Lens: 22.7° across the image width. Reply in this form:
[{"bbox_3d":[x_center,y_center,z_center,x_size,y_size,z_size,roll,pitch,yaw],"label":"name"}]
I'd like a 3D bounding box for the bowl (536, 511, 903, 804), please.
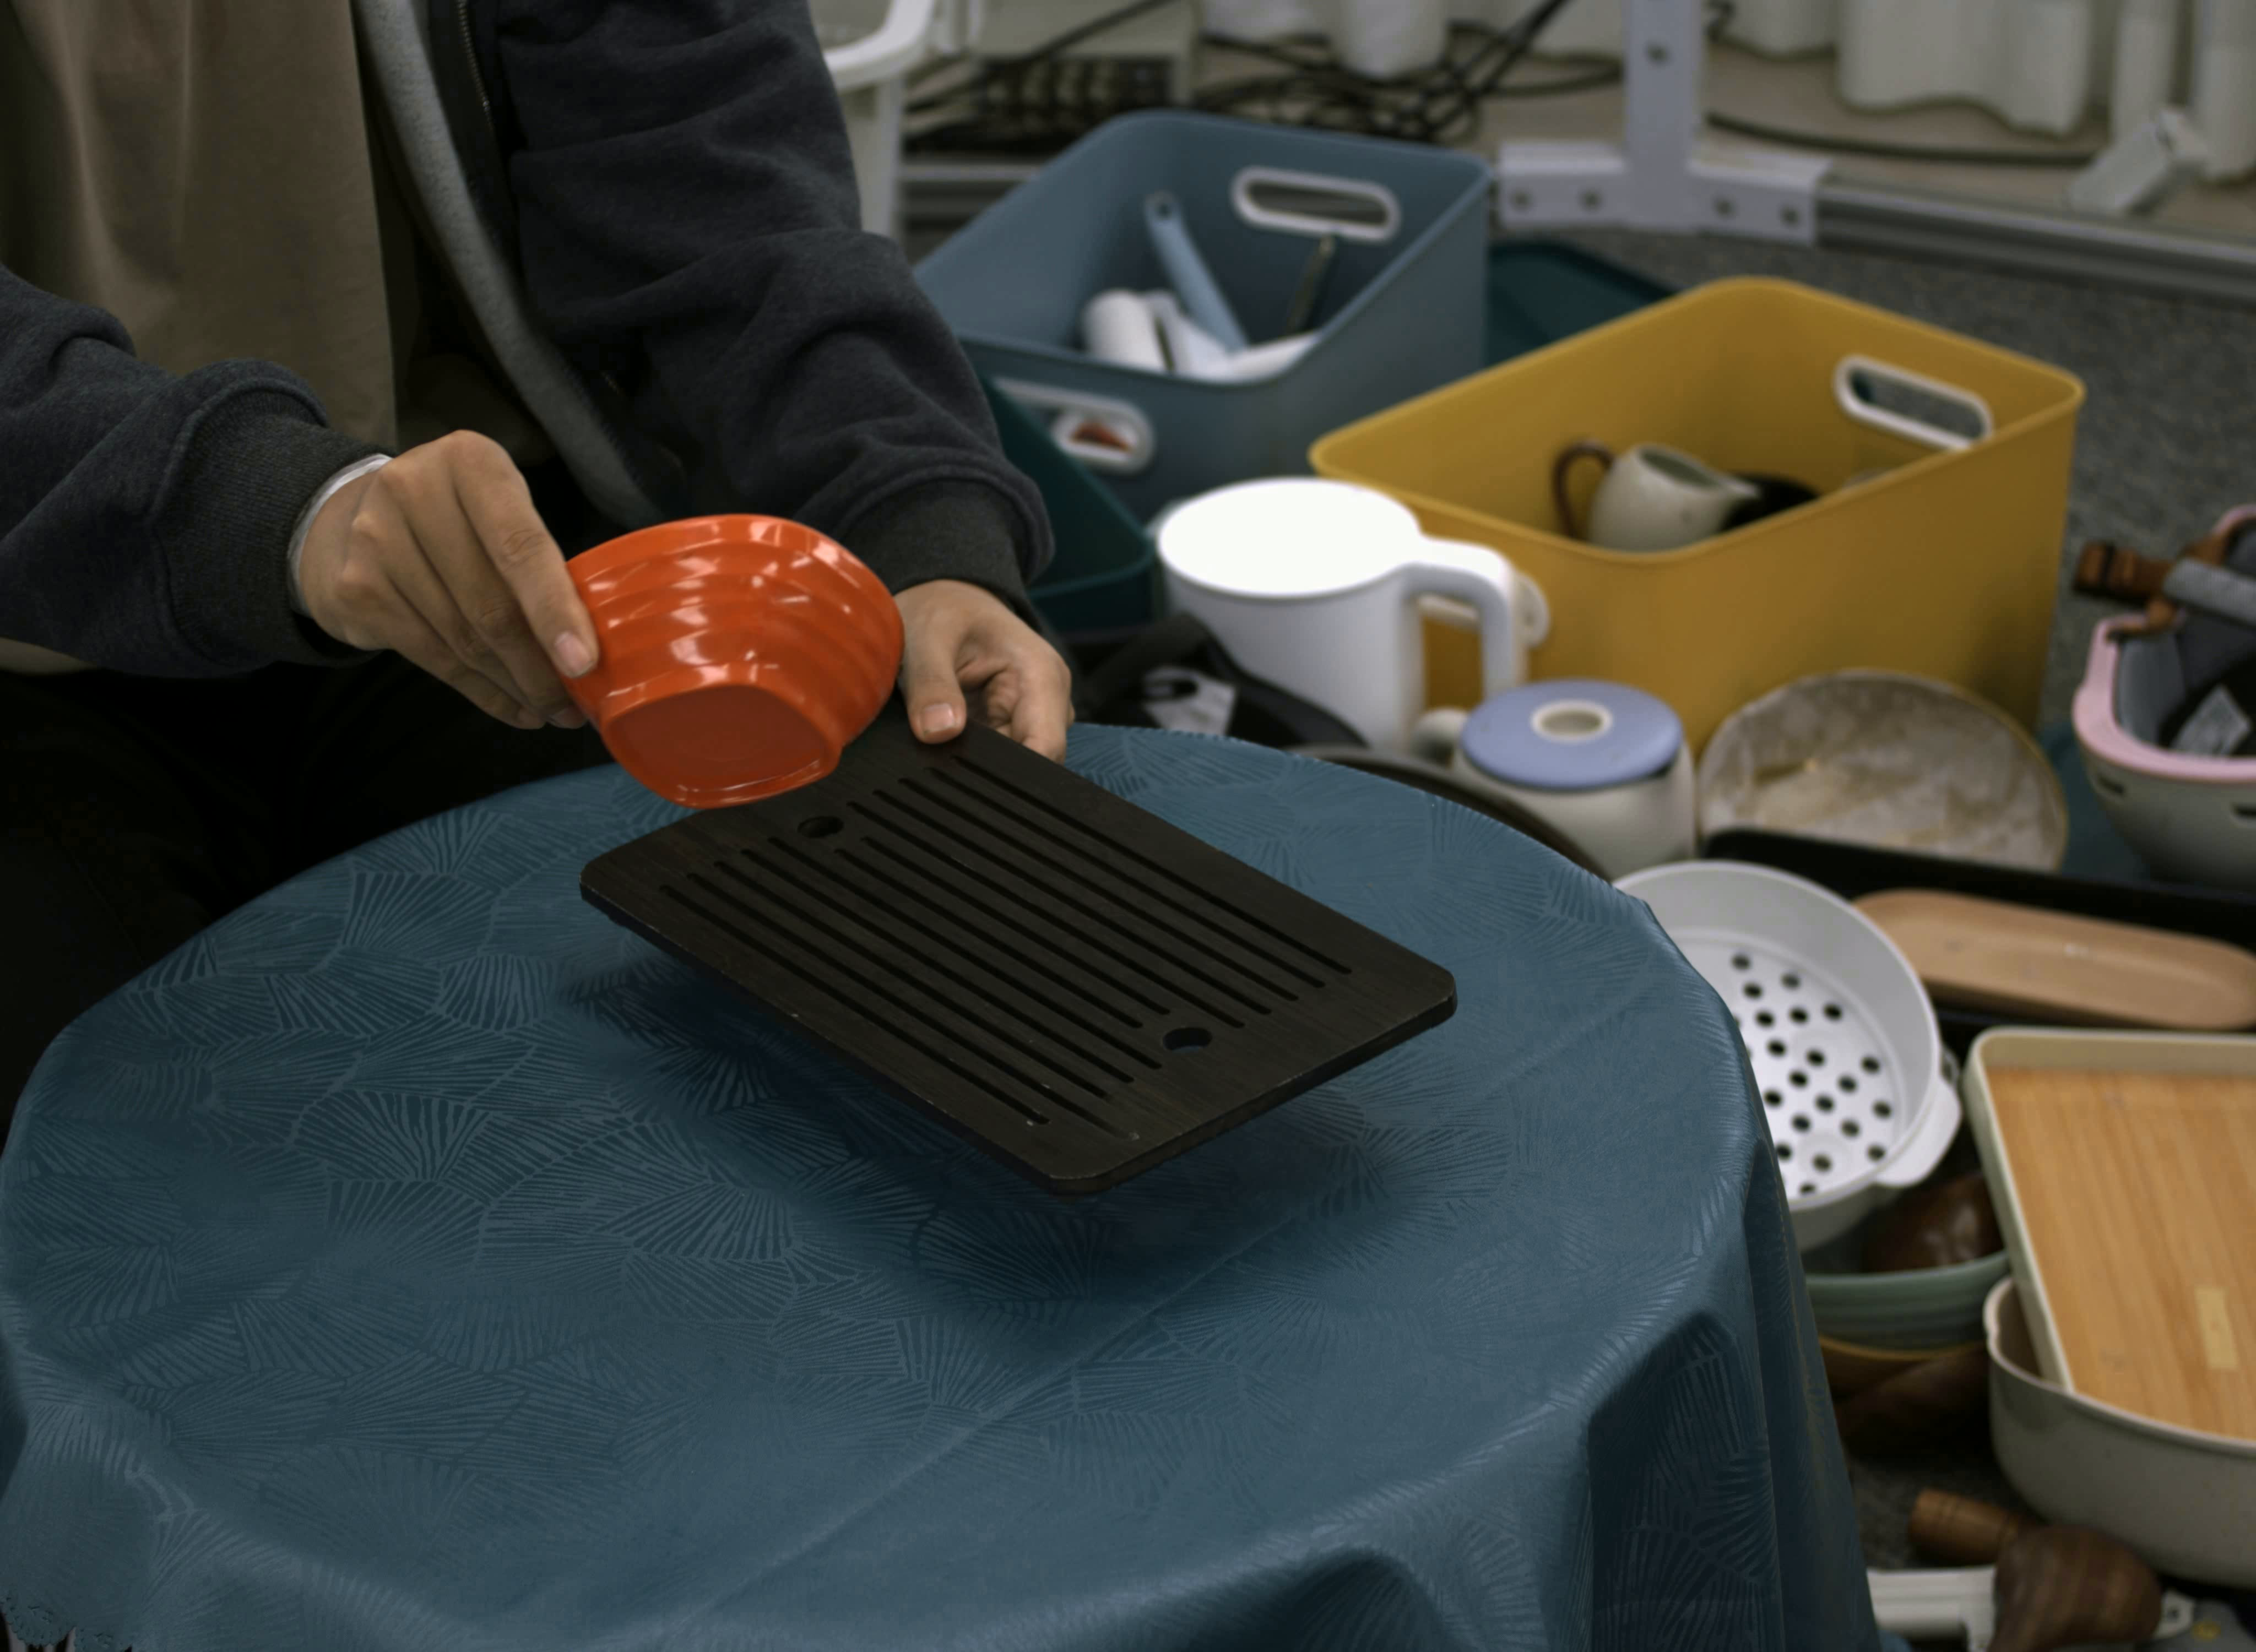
[{"bbox_3d":[-0.130,-0.047,1.780,0.118,0.117,0.052,-1,59,2],"label":"bowl"}]

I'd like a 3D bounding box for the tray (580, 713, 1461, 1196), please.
[{"bbox_3d":[-0.041,0.040,1.930,0.172,0.018,0.306,-24,32,-30],"label":"tray"}]
